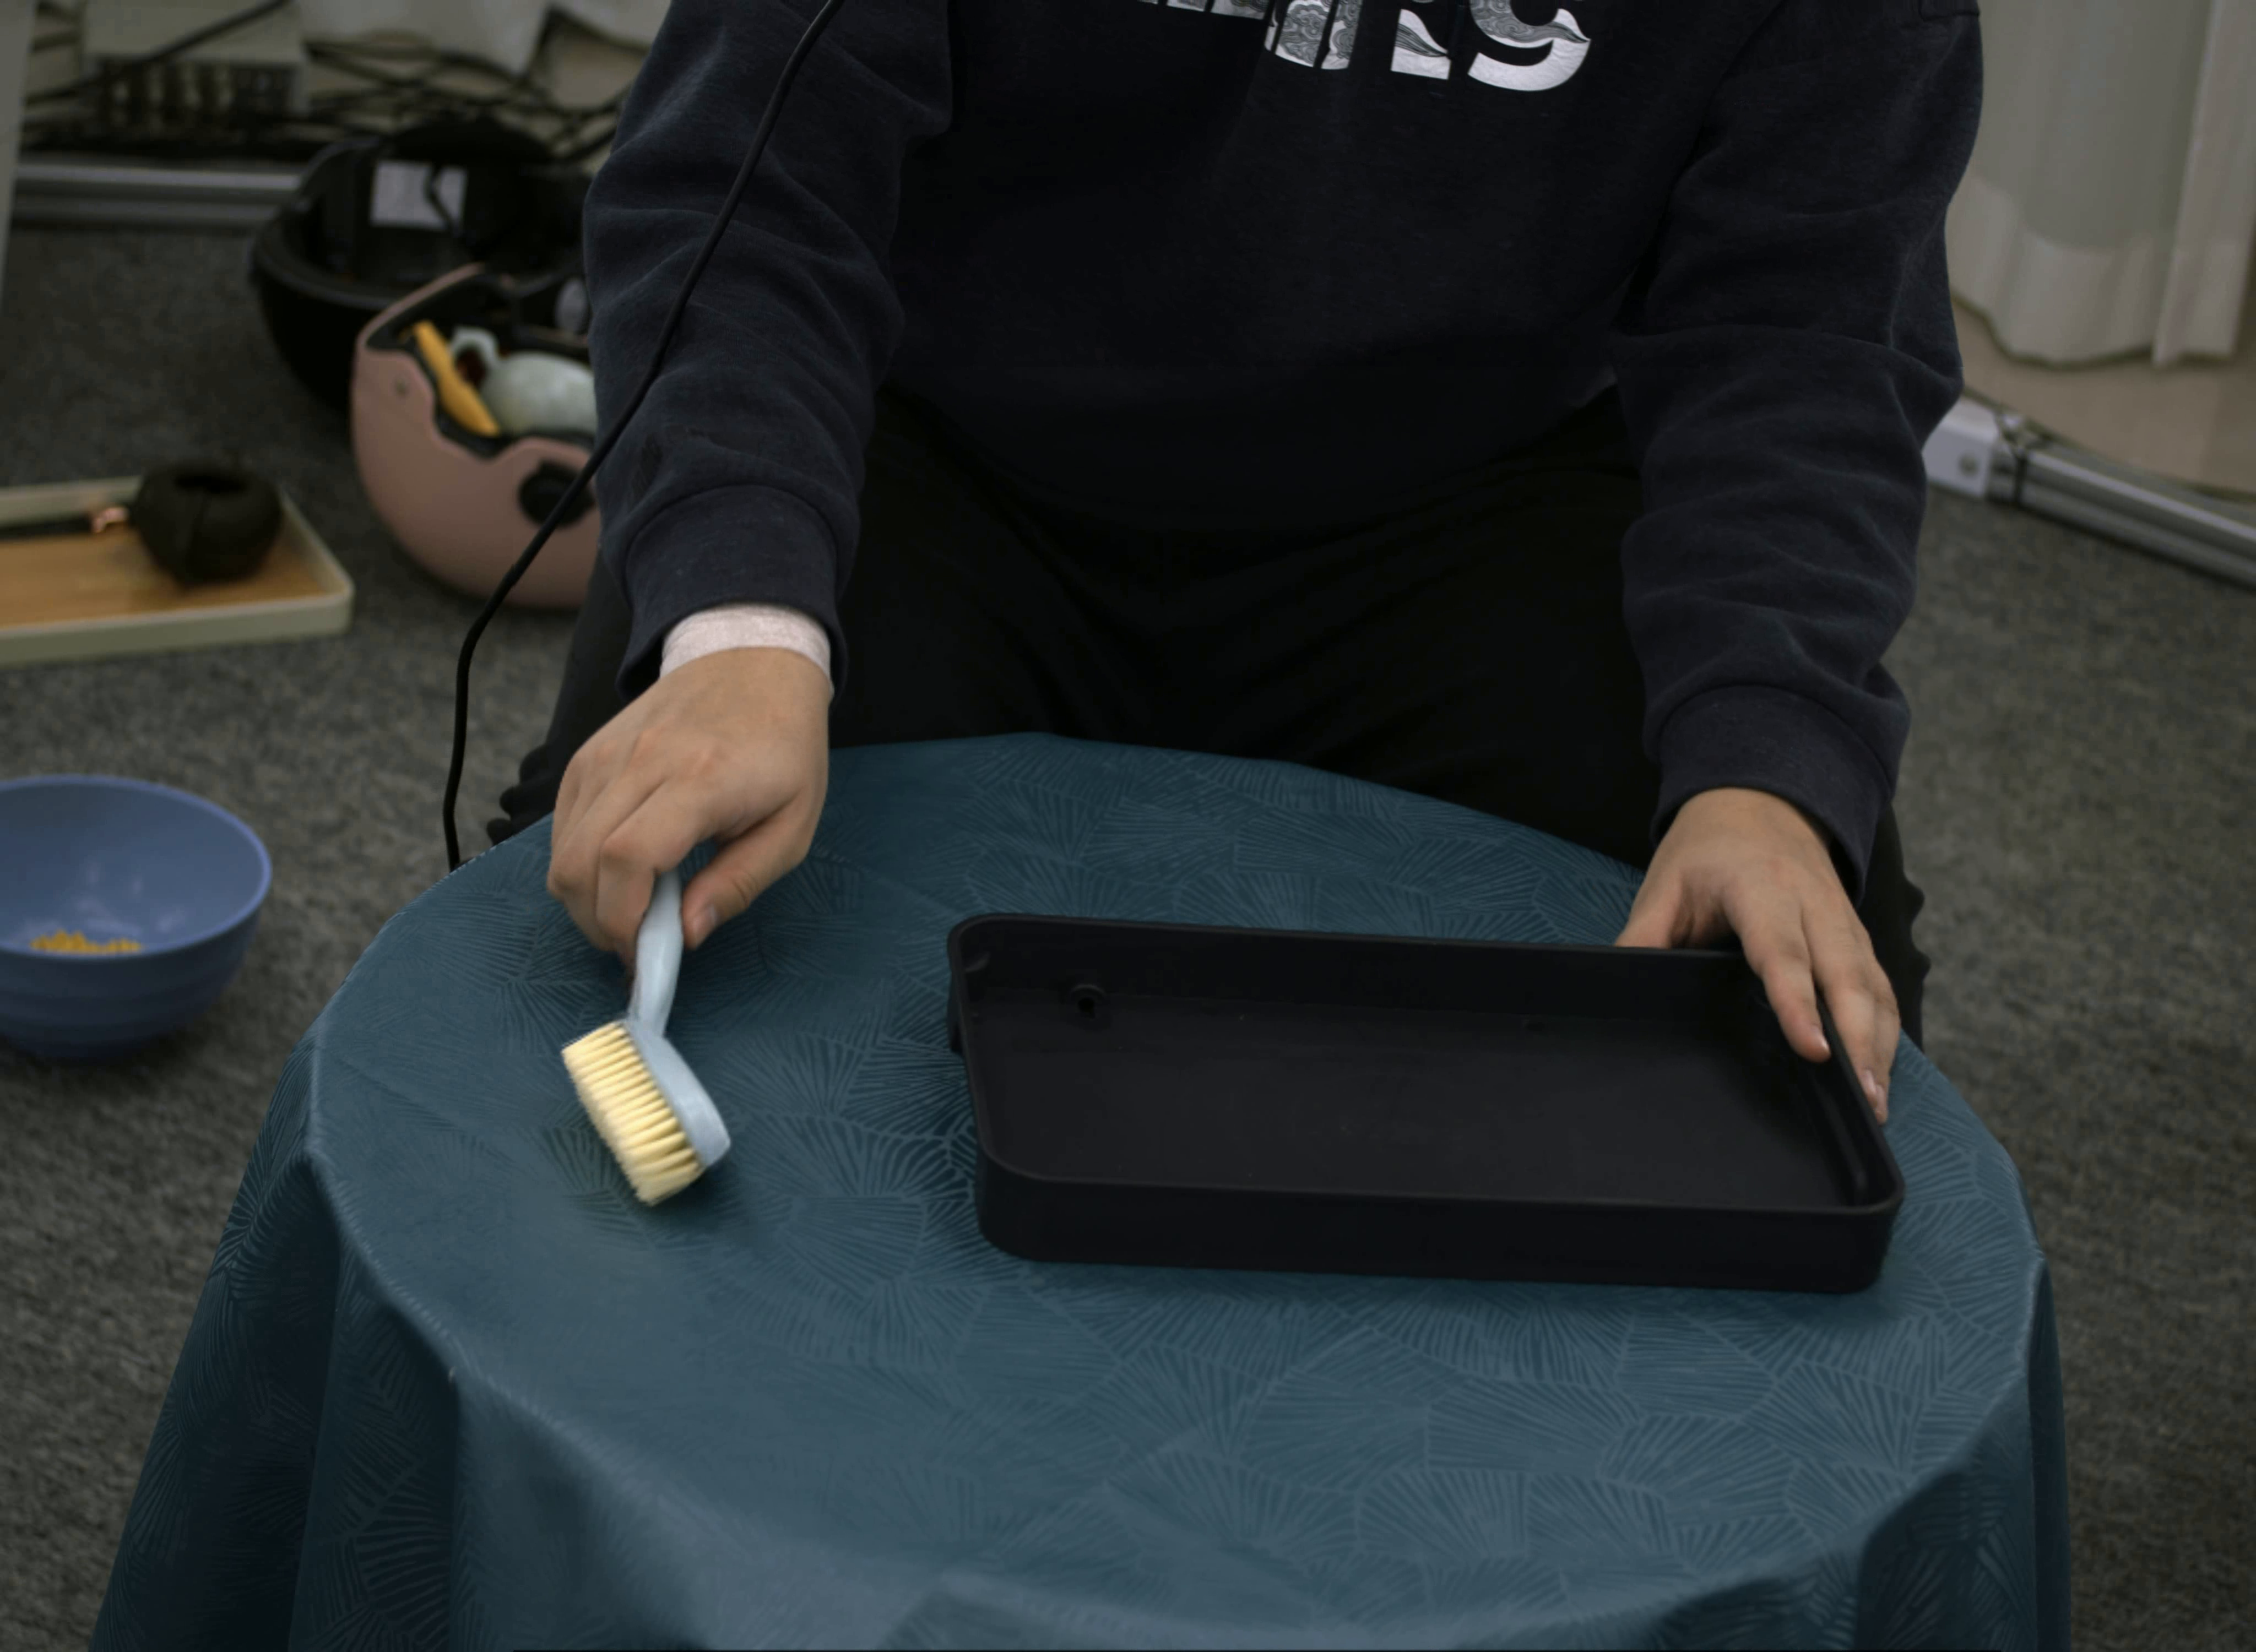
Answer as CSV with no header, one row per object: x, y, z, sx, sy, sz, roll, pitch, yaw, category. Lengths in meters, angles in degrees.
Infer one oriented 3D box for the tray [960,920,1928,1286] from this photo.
0.104,0.095,1.847,0.316,0.037,0.185,2,26,-9,tray

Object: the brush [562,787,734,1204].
-0.173,0.054,1.843,0.049,0.037,0.231,-17,35,0,brush
